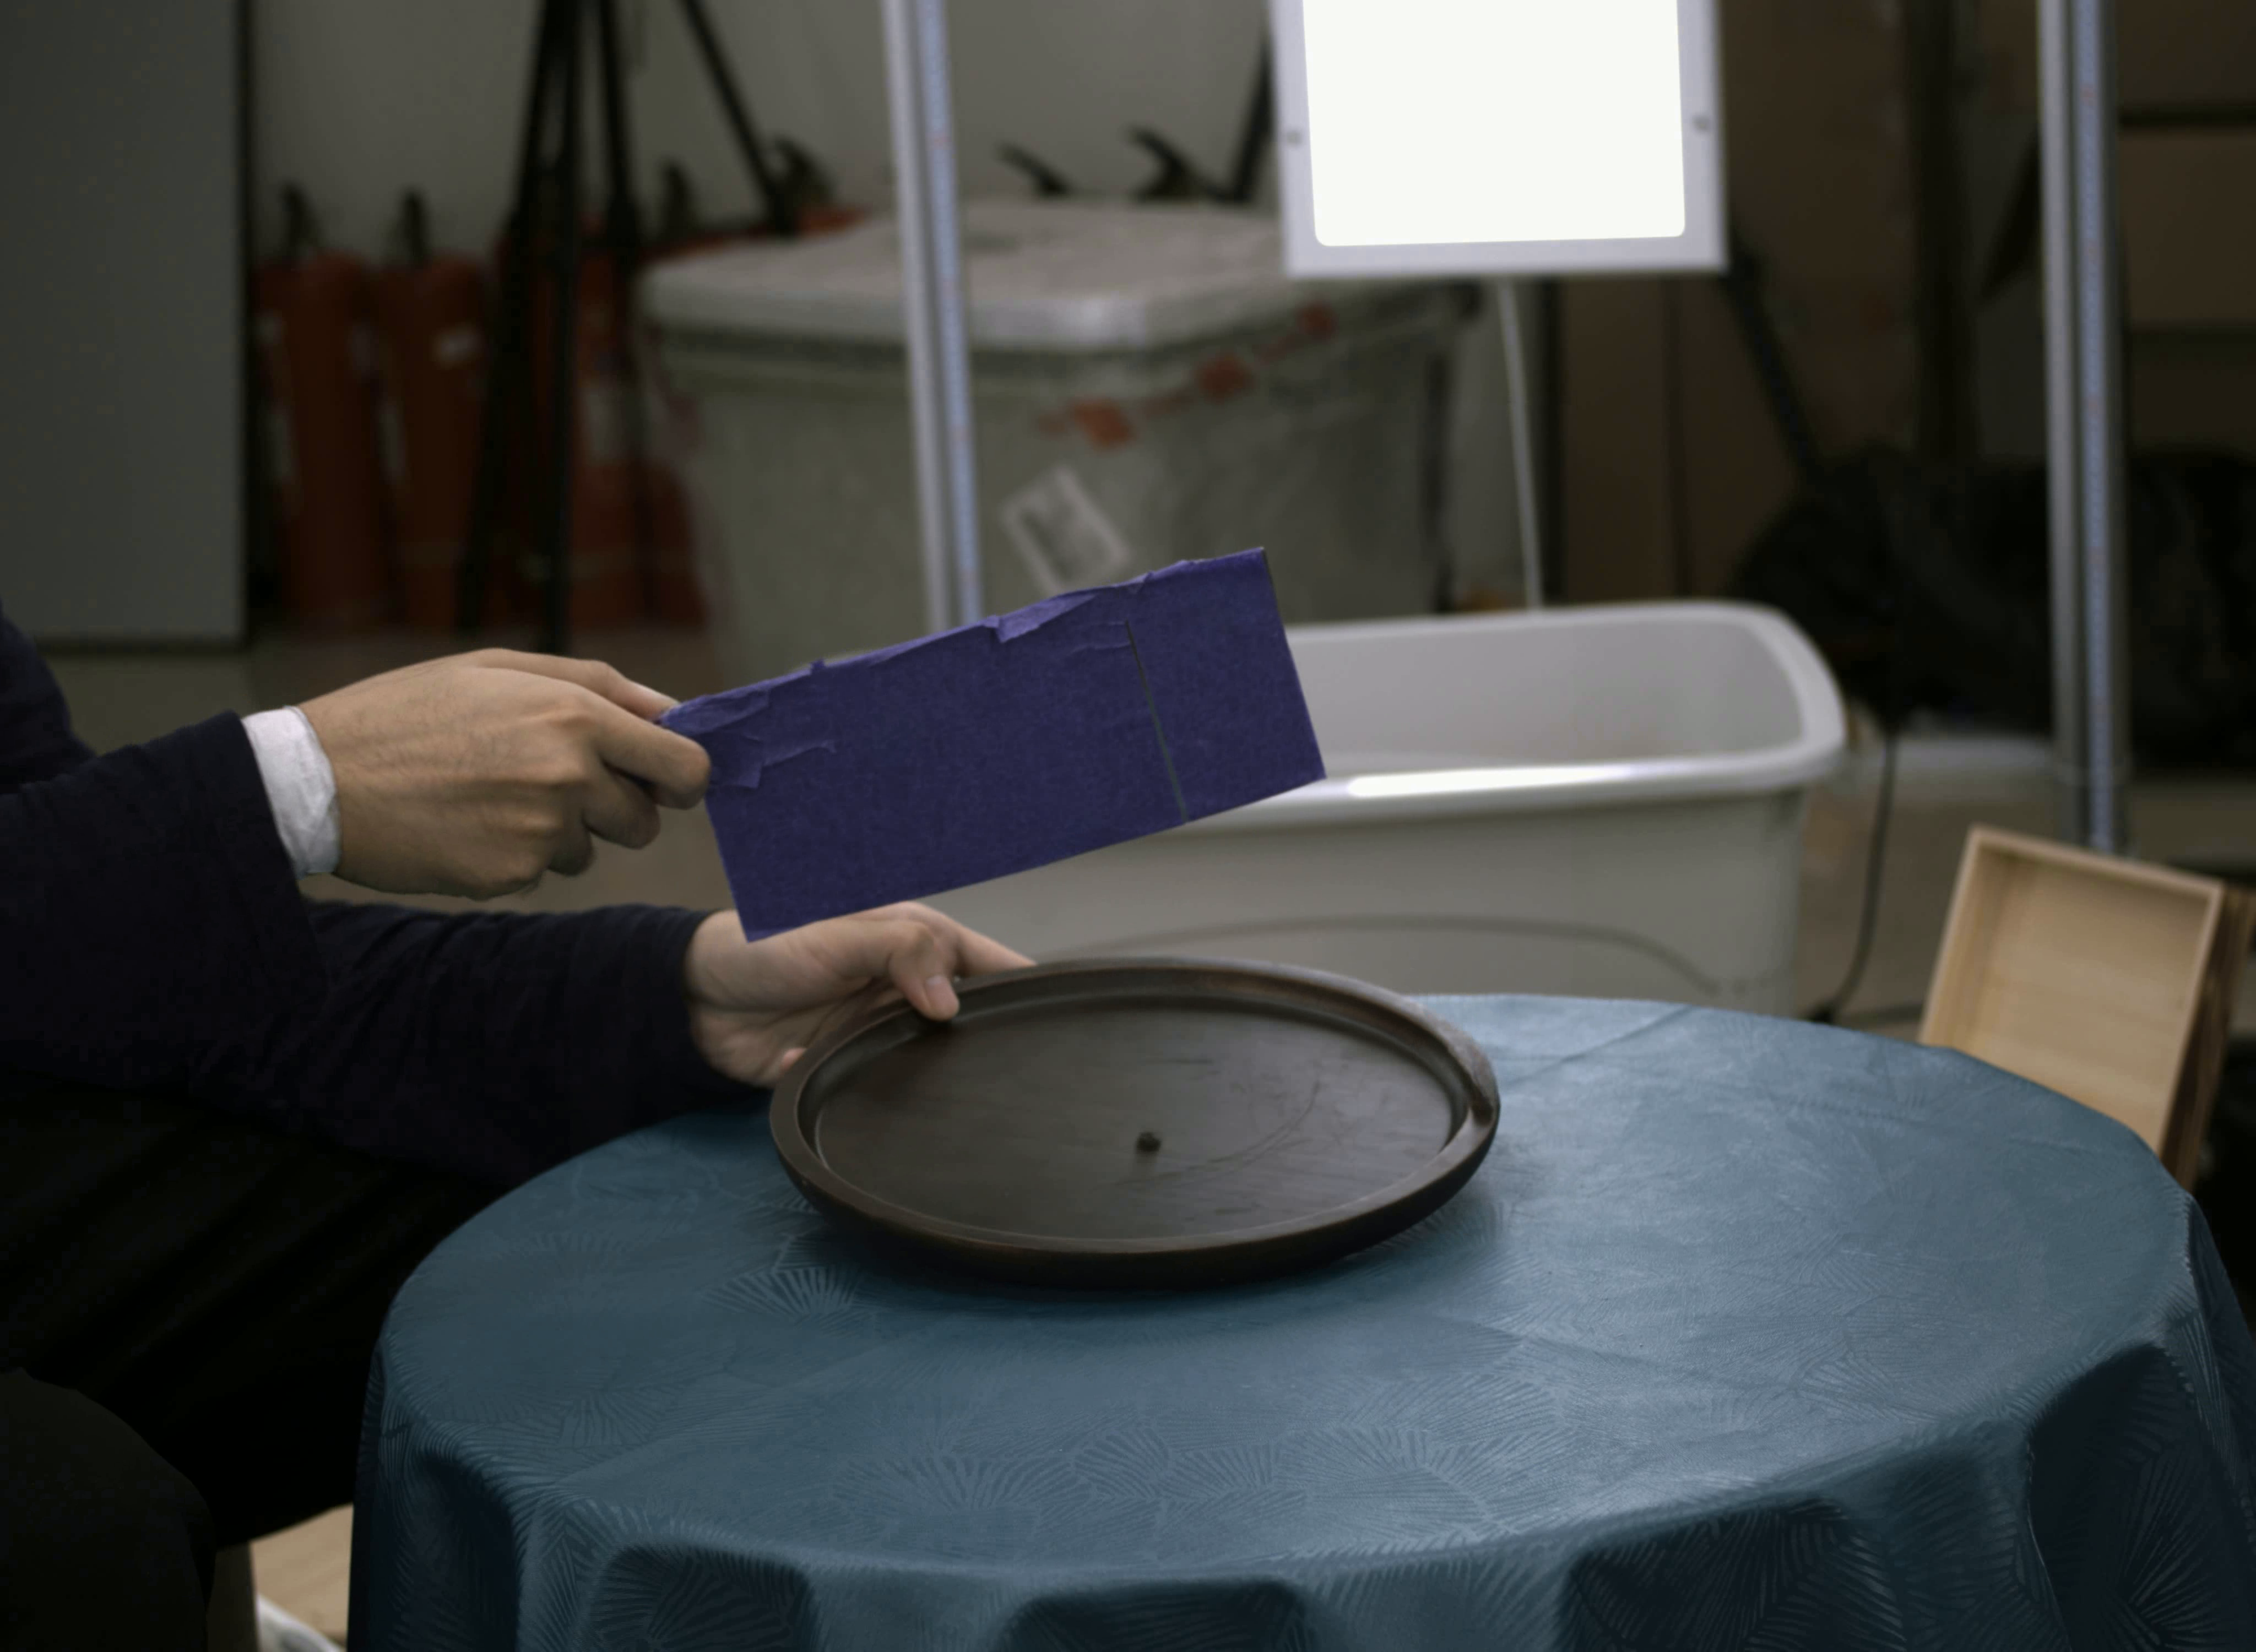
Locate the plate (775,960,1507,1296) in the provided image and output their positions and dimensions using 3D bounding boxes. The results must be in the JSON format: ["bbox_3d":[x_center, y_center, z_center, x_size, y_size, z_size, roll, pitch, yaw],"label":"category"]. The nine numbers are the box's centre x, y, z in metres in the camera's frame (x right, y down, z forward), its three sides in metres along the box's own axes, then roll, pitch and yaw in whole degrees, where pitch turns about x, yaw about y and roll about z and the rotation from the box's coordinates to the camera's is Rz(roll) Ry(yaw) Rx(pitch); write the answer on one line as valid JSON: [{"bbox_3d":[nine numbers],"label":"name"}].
[{"bbox_3d":[0.004,0.101,1.894,0.254,0.029,0.254,-2,21,0],"label":"plate"}]

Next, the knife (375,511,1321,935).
[{"bbox_3d":[-0.092,-0.016,1.860,0.315,0.104,0.032,-16,19,3],"label":"knife"}]
